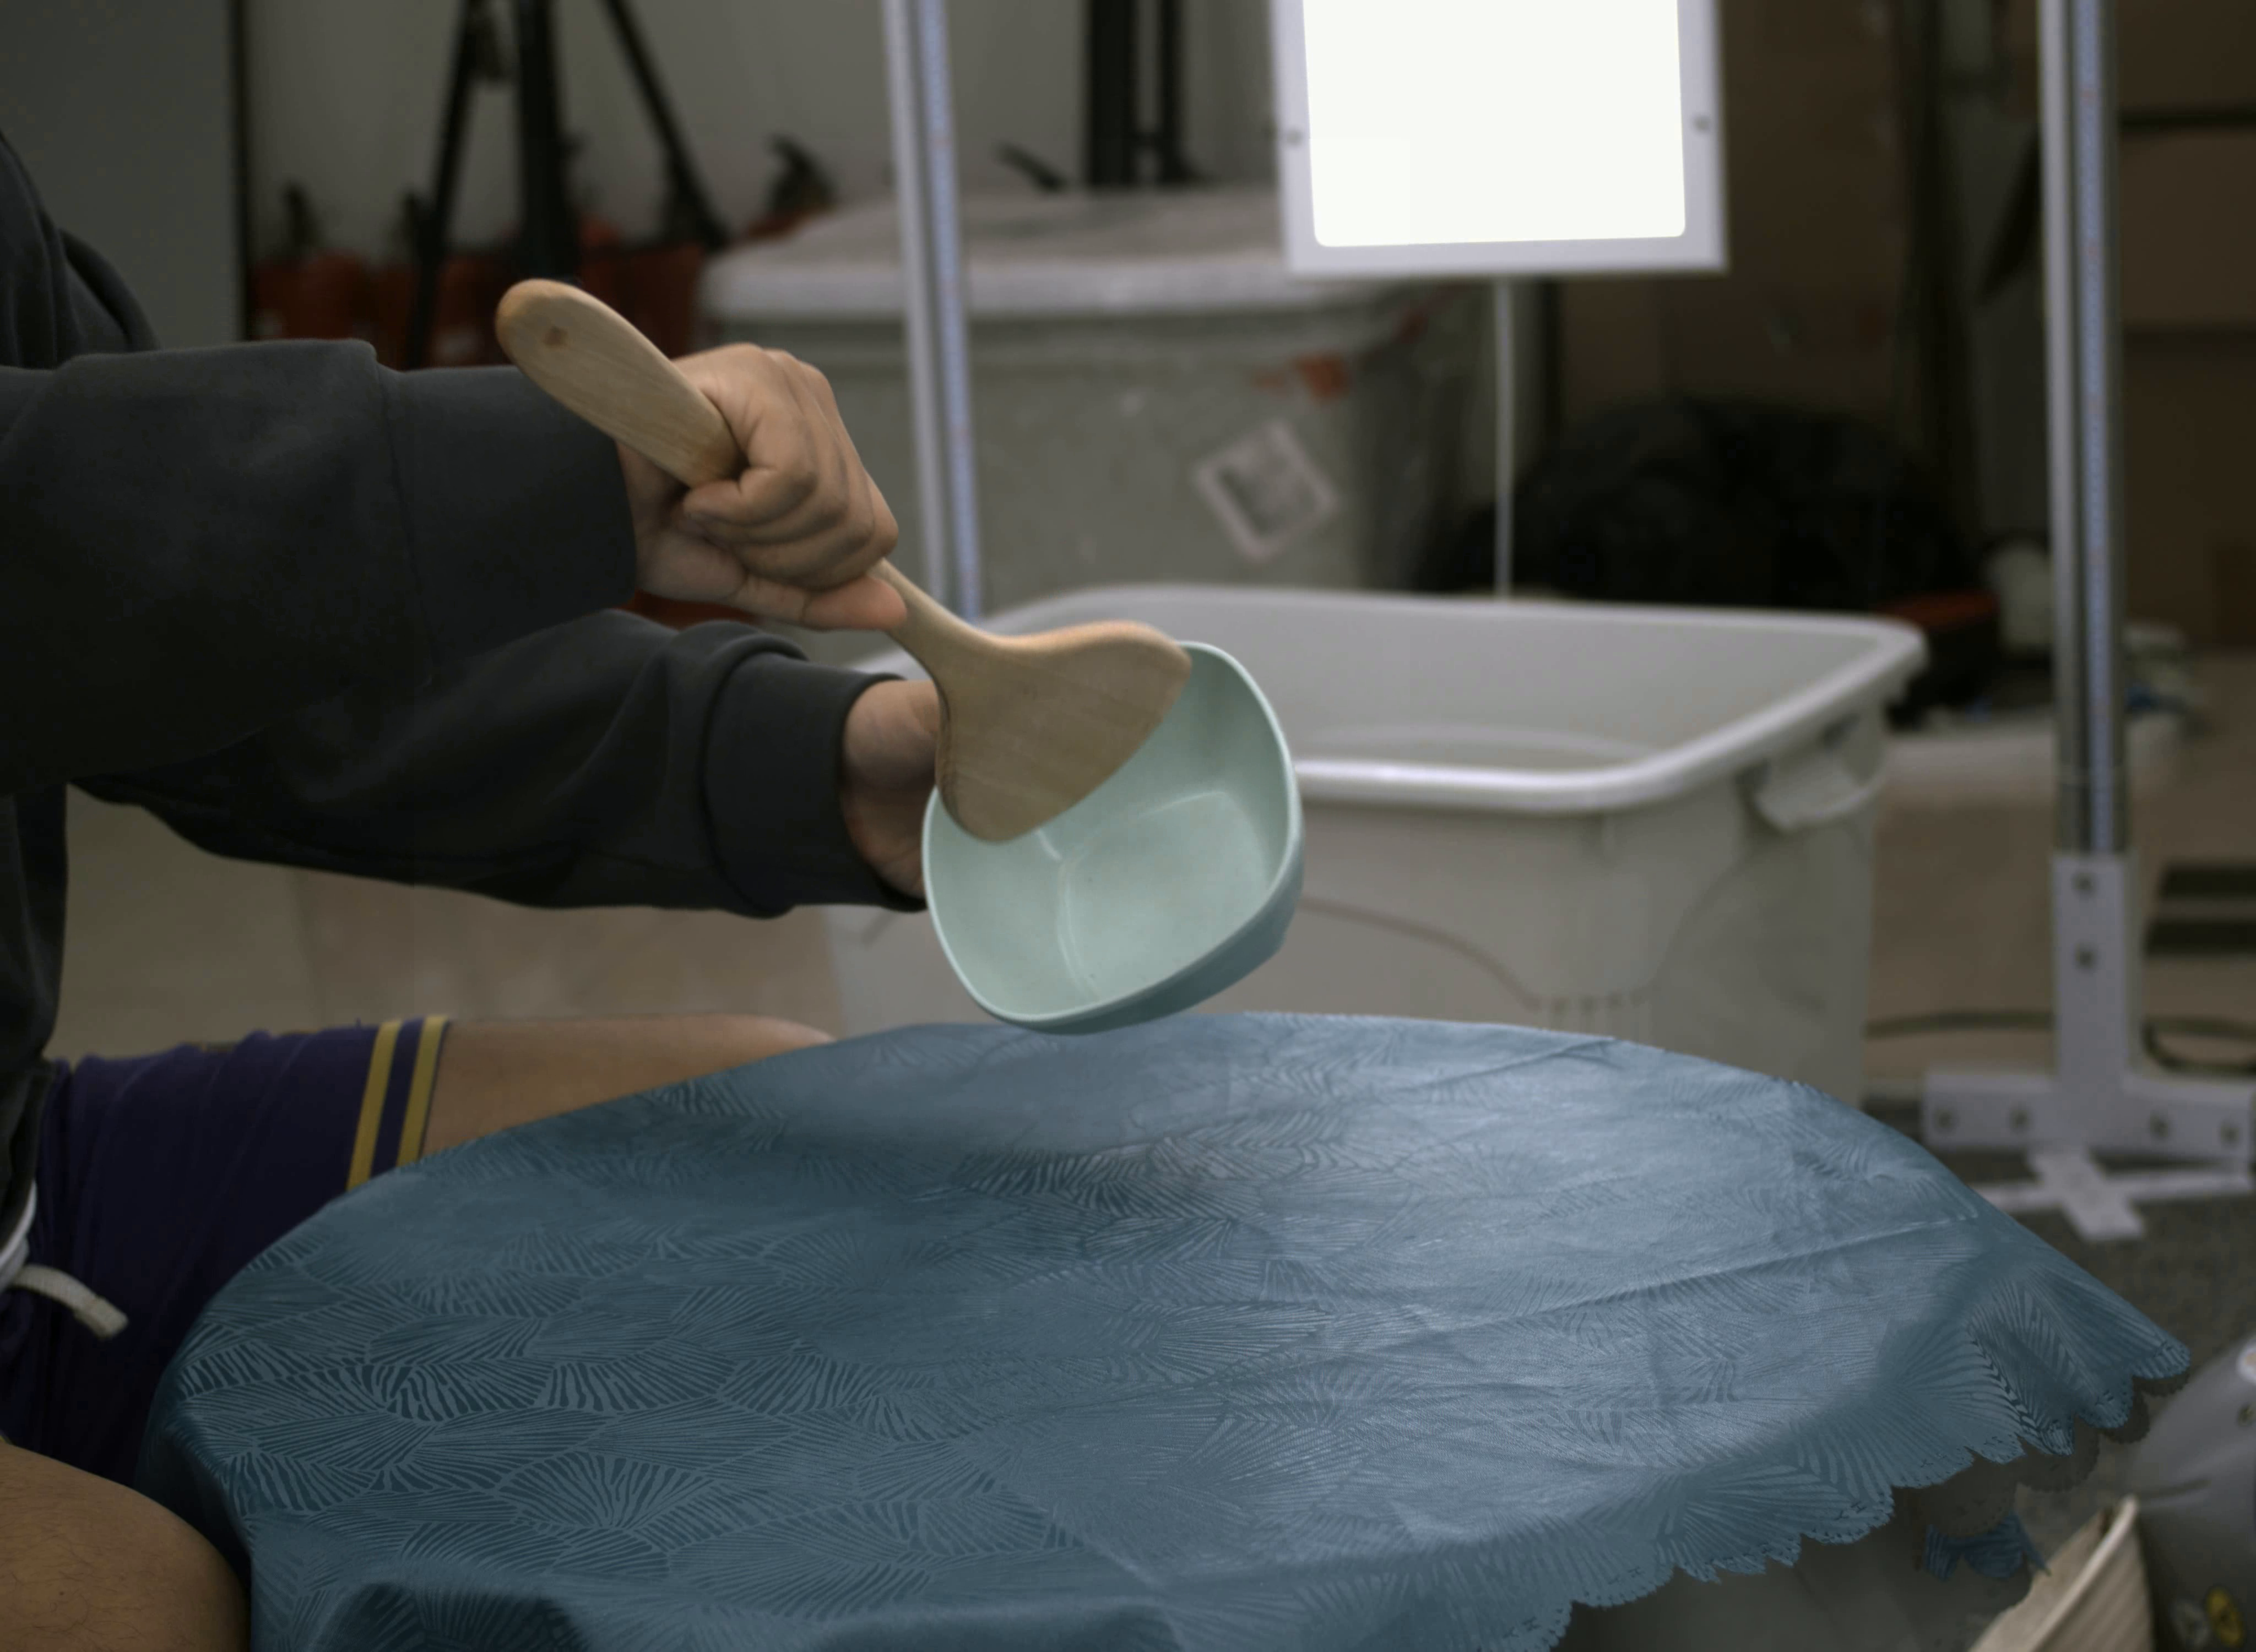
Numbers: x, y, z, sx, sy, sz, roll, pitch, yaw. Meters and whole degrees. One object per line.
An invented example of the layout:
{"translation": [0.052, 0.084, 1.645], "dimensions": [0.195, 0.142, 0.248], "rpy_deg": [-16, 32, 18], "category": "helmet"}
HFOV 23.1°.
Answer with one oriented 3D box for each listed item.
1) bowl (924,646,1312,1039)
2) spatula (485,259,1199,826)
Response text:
{"translation": [0.005, 0.016, 1.895], "dimensions": [0.154, 0.150, 0.058], "rpy_deg": [4, -27, 31], "category": "bowl"}
{"translation": [-0.085, -0.090, 1.689], "dimensions": [0.019, 0.096, 0.384], "rpy_deg": [49, 6, 35], "category": "spatula"}
